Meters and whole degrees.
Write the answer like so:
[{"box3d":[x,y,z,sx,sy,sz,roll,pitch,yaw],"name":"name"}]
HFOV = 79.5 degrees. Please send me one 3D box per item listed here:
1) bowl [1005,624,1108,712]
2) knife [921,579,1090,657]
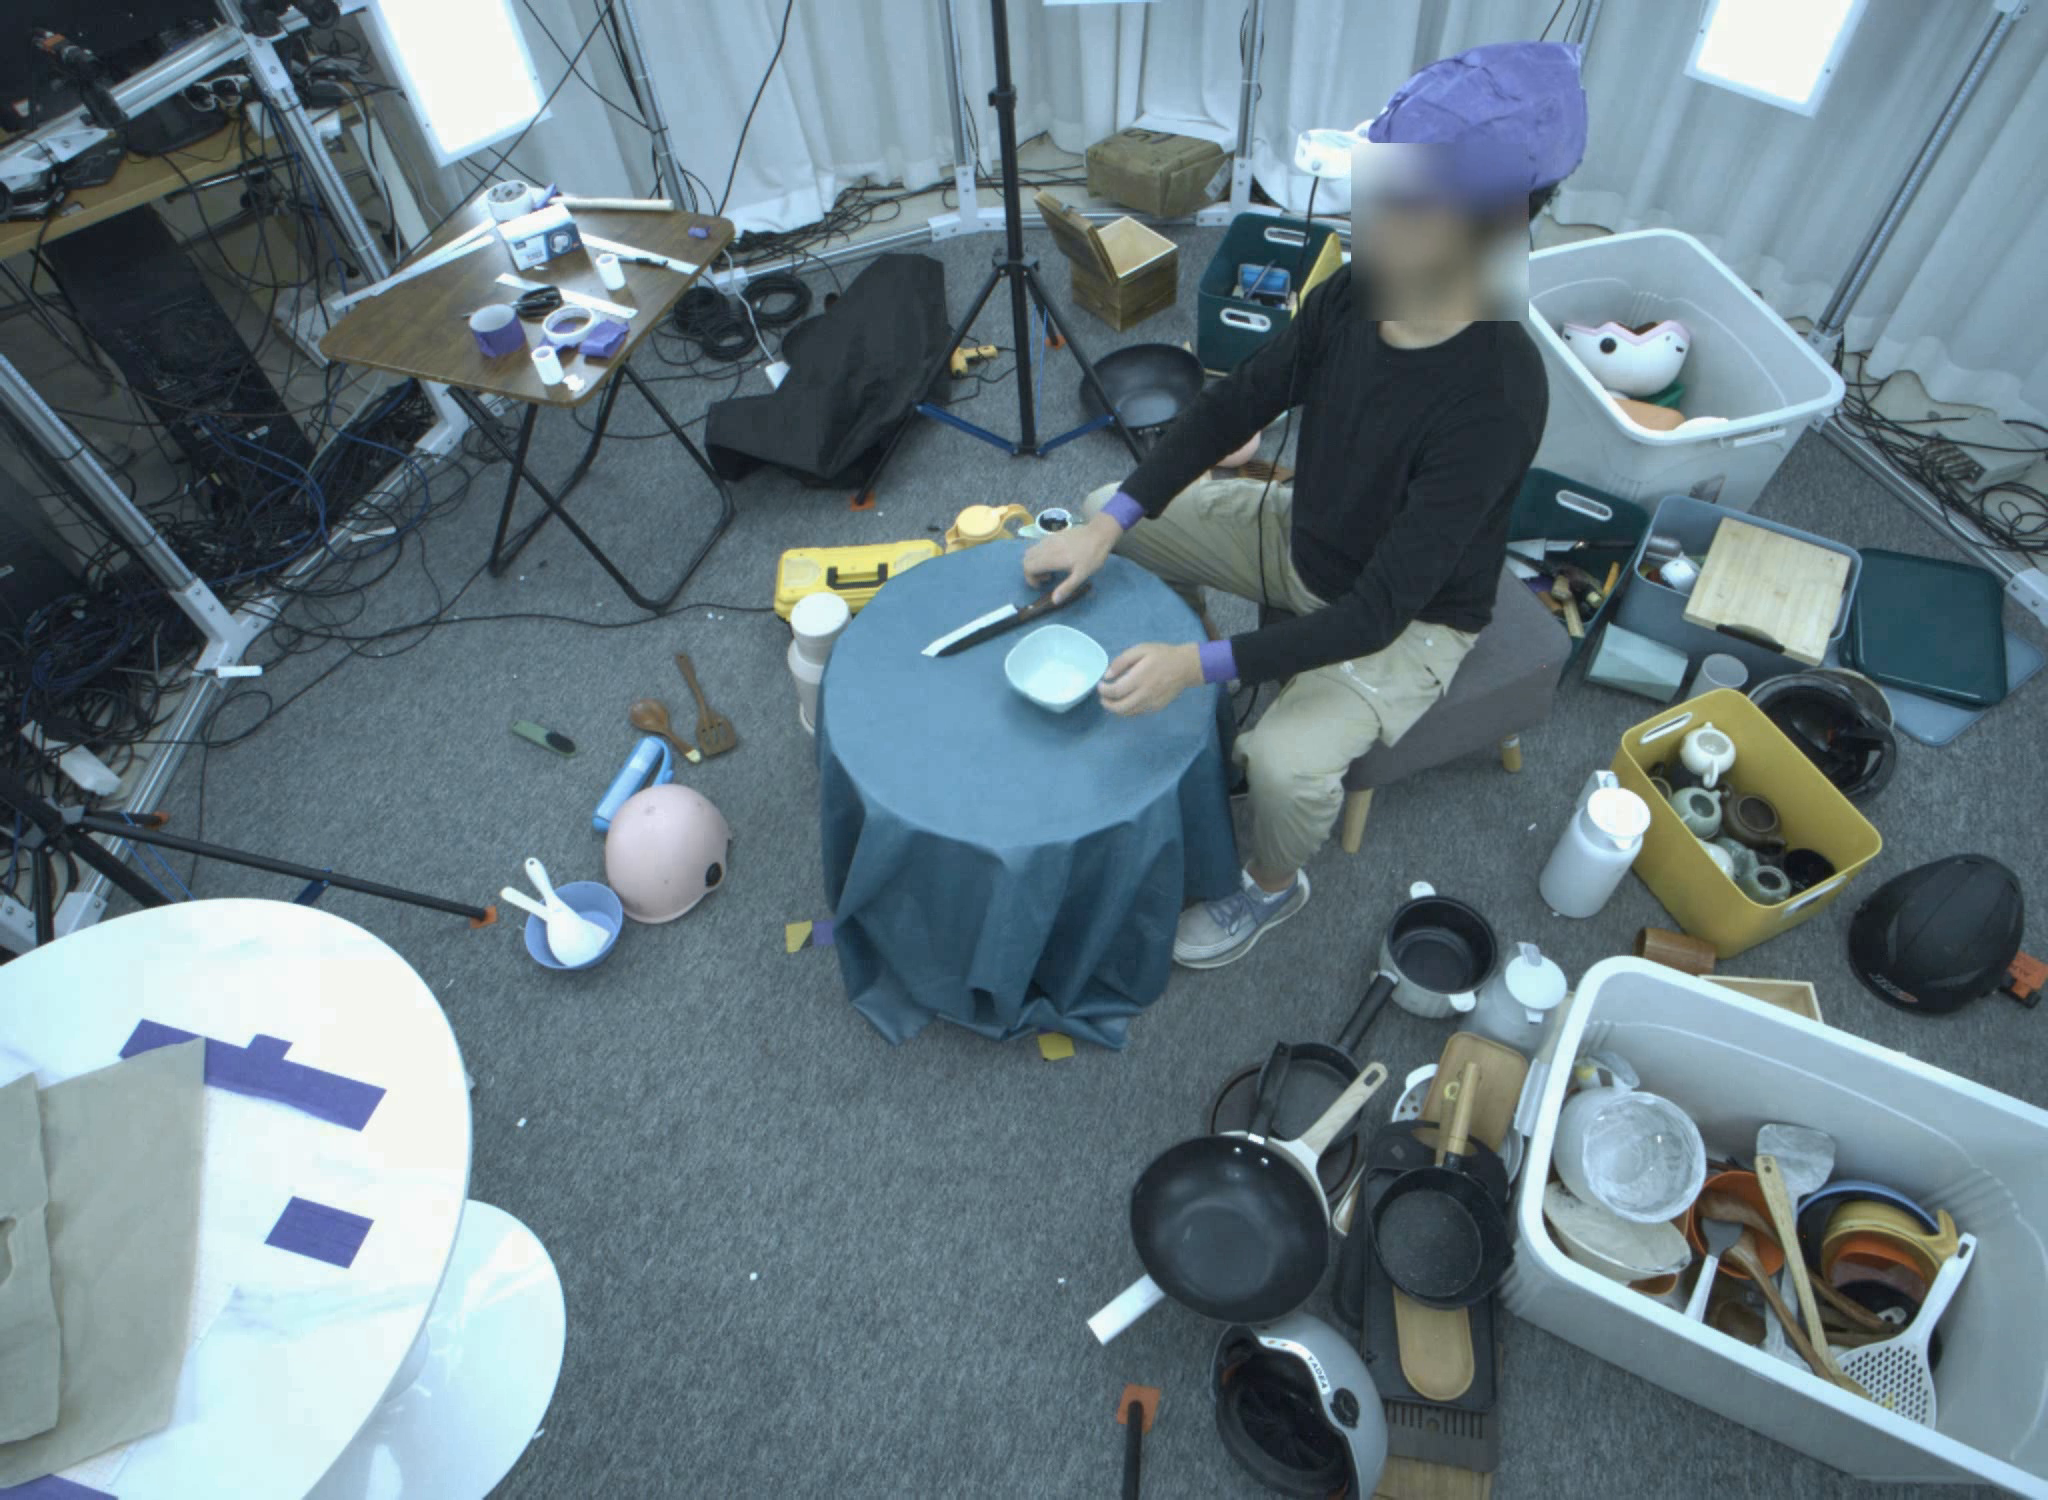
[{"box3d":[0.050,-0.111,1.827,0.151,0.059,0.150,-1,56,3],"name":"bowl"},{"box3d":[-0.029,-0.205,1.922,0.291,0.020,0.049,-24,52,-12],"name":"knife"}]
